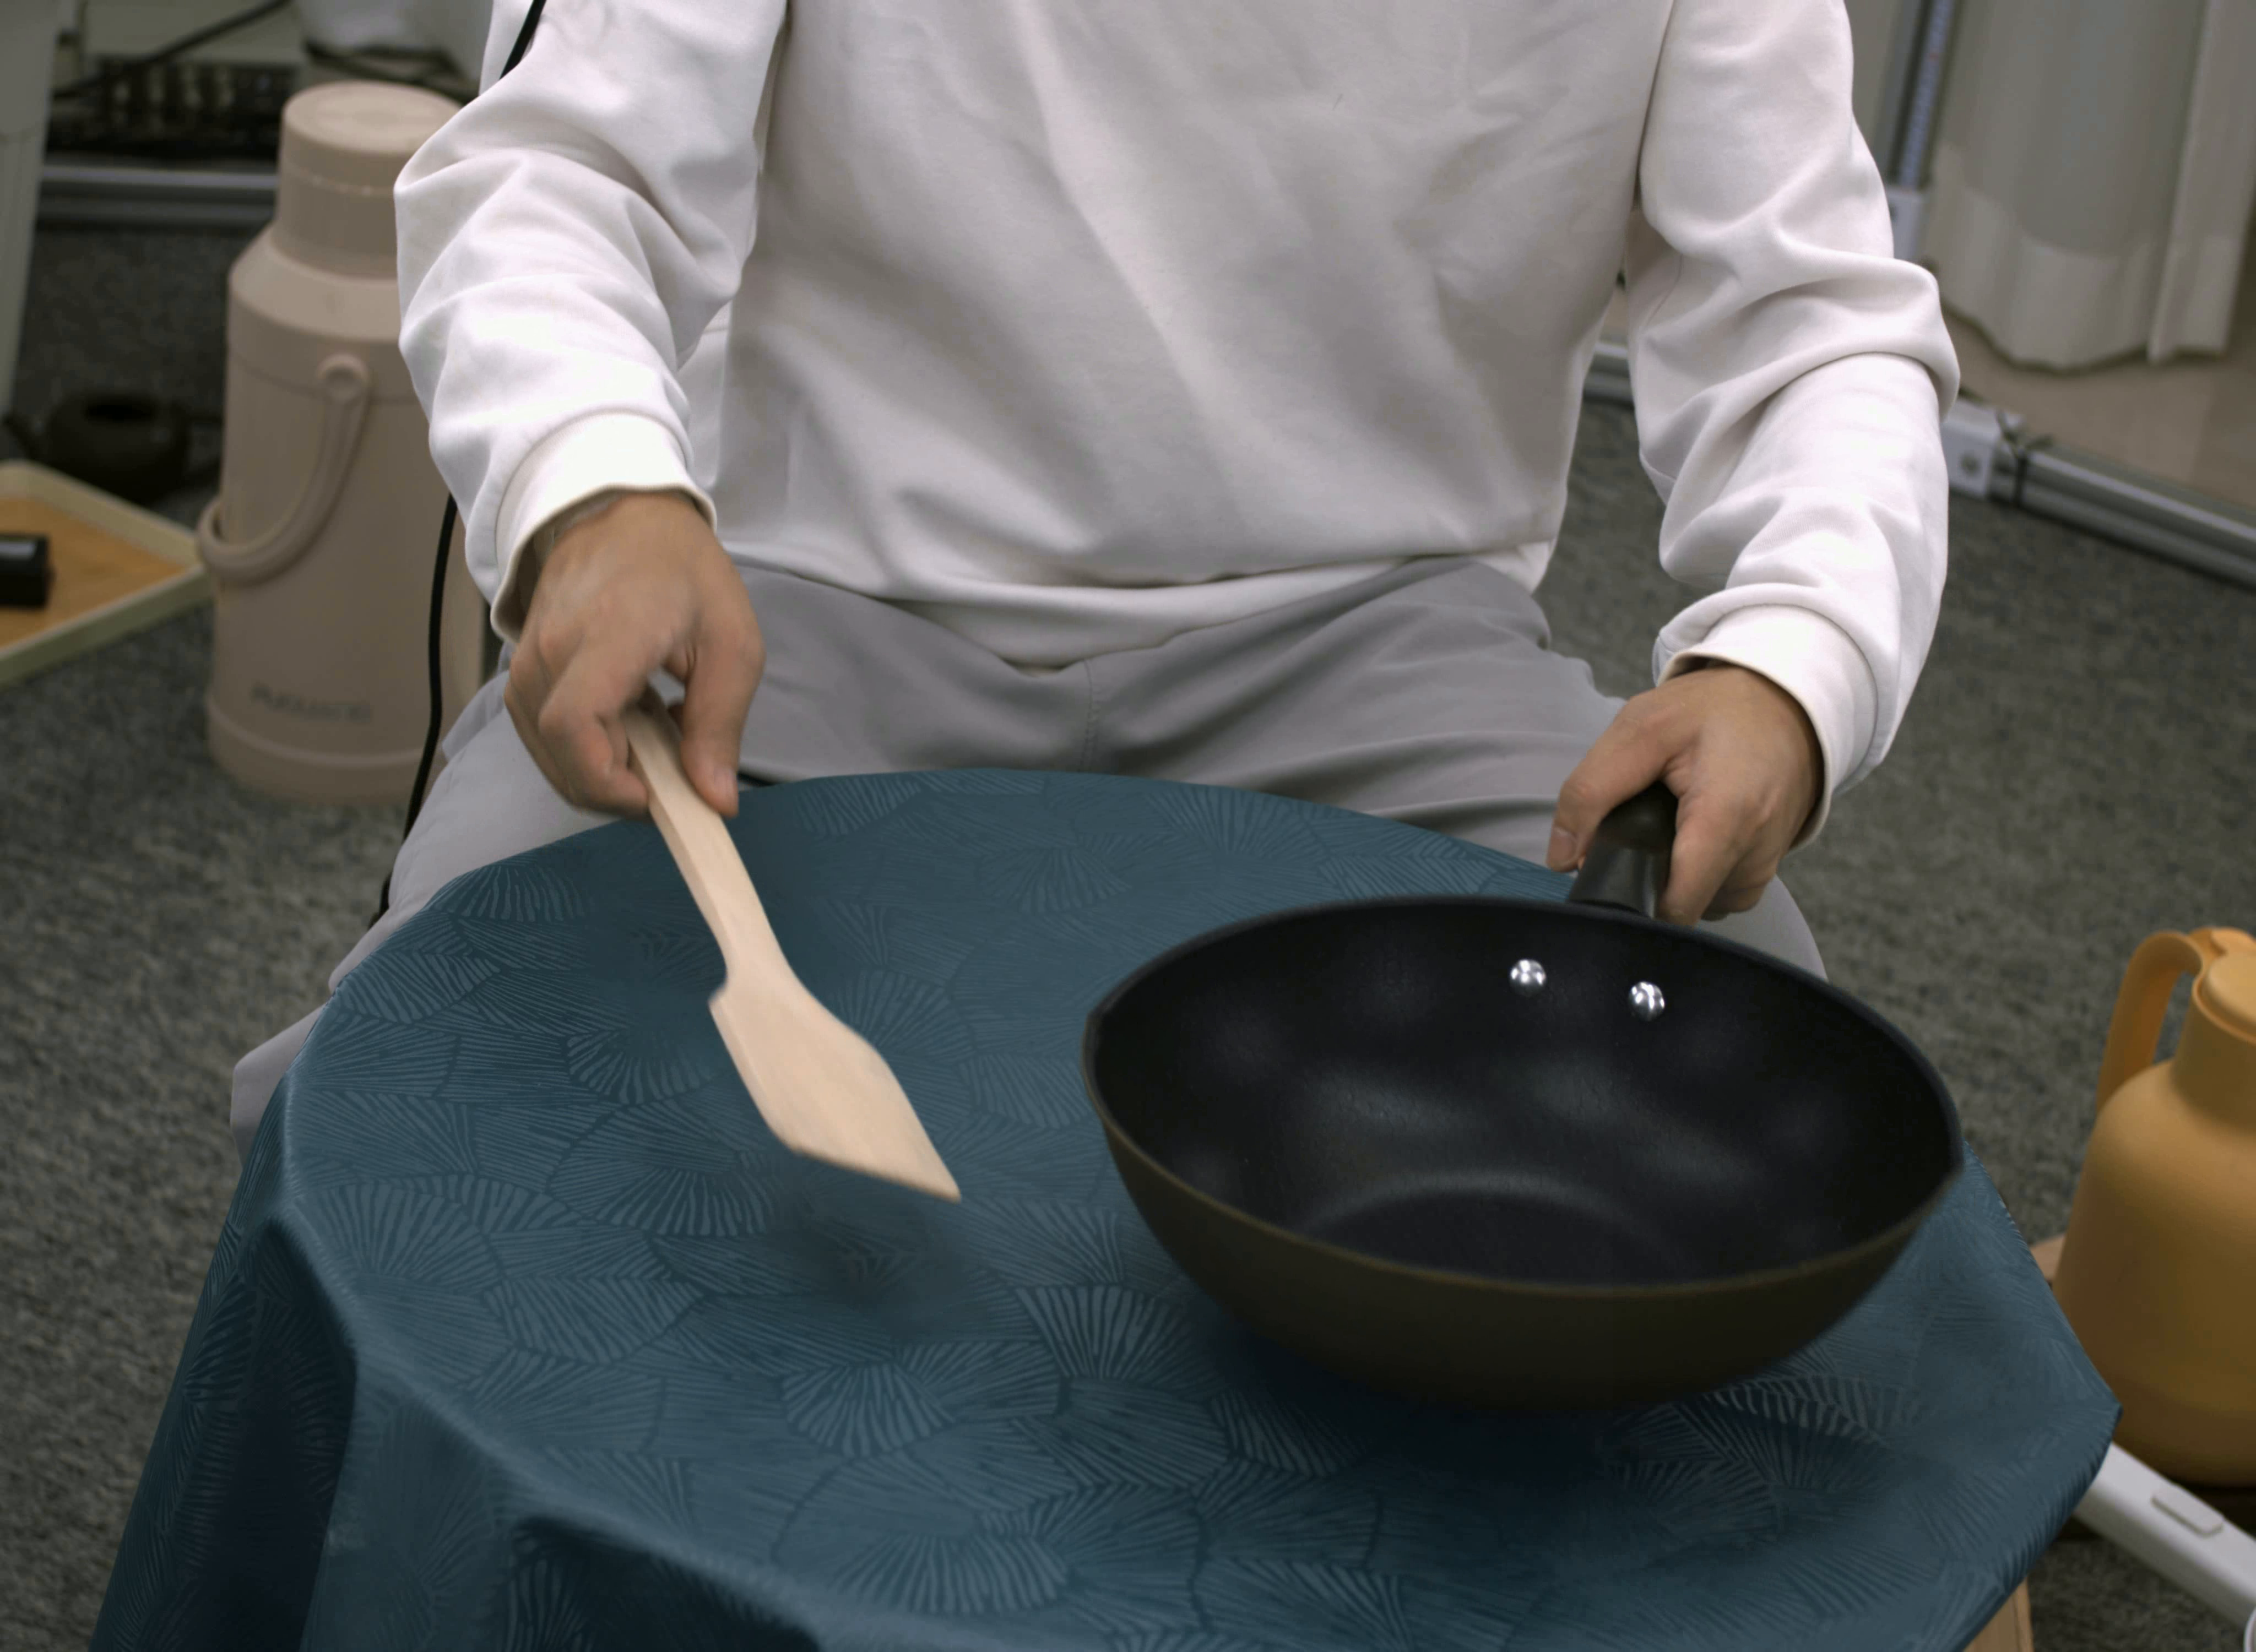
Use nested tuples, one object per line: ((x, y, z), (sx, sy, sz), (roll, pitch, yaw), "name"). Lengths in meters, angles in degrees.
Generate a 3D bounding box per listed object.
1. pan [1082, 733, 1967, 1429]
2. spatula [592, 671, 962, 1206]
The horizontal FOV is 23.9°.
((0.148, 0.084, 1.802), (0.288, 0.086, 0.464), (11, 25, 12), "pan")
((-0.132, 0.031, 1.807), (0.071, 0.010, 0.296), (19, 25, -35), "spatula")
